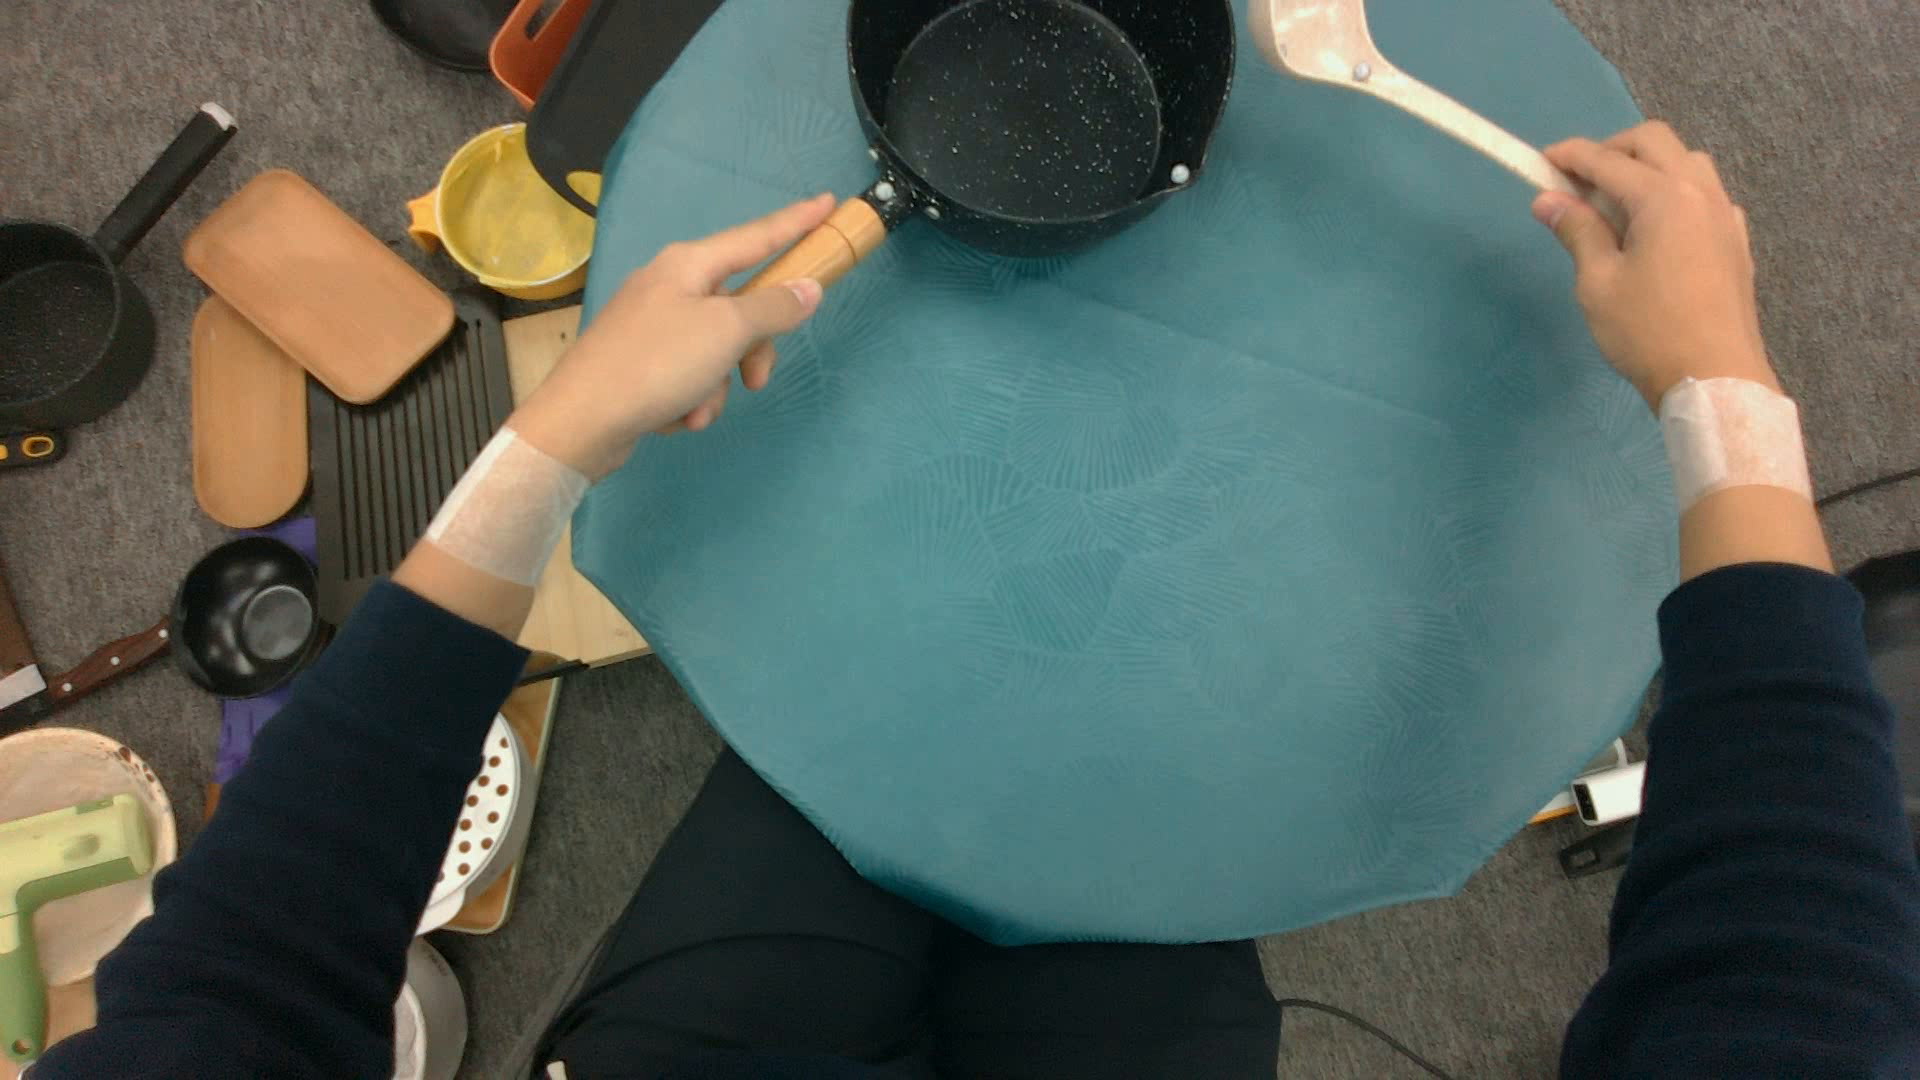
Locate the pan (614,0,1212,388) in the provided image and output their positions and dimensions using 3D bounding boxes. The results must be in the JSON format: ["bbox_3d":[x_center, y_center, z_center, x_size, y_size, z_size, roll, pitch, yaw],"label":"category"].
[{"bbox_3d":[-0.027,-0.182,0.663,0.207,0.108,0.343,42,78,3],"label":"pan"}]

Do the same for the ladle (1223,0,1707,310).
[{"bbox_3d":[0.248,-0.203,0.647,0.275,0.069,0.090,33,53,7],"label":"ladle"}]
